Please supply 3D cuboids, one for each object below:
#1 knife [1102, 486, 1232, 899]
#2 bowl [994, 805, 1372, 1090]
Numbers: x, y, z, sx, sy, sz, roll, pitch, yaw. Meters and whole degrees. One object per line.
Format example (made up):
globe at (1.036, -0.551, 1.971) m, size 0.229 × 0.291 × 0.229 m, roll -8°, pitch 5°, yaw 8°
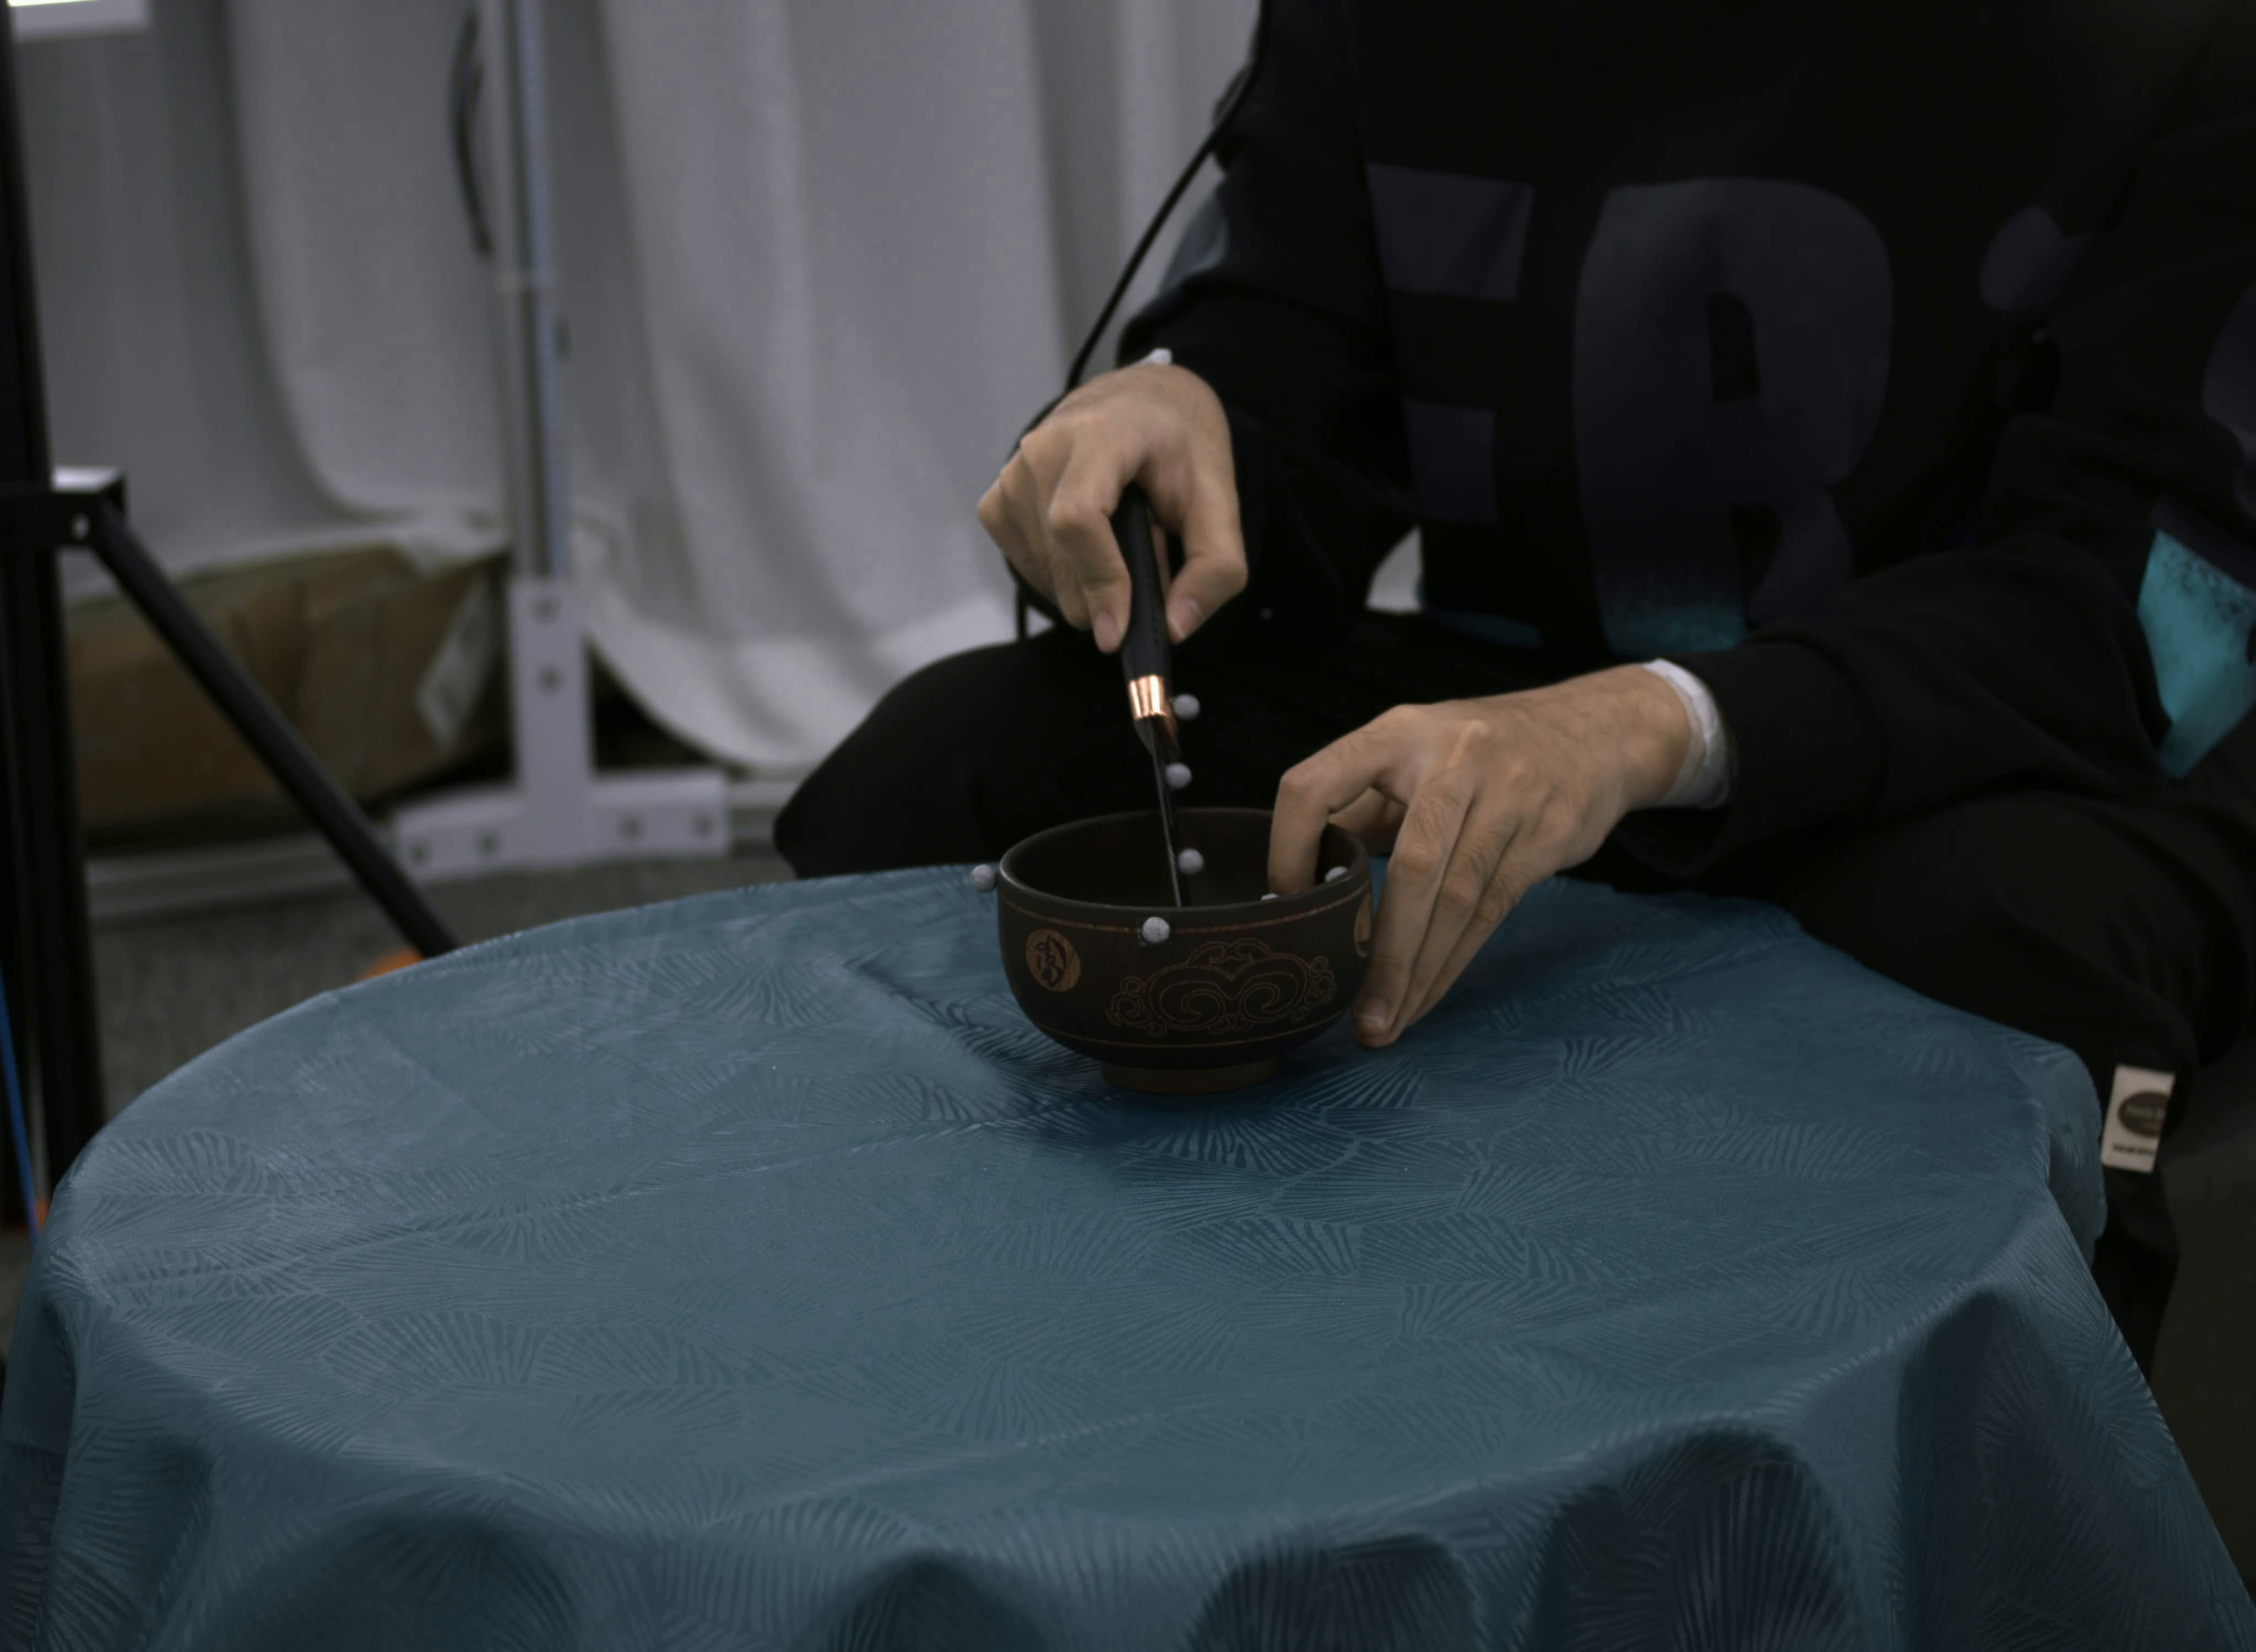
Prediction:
knife at (0.015, -0.026, 1.706) m, size 0.025 × 0.017 × 0.229 m, roll 12°, pitch 44°, yaw -23°
bowl at (0.017, 0.041, 1.655) m, size 0.117 × 0.070 × 0.118 m, roll -1°, pitch 14°, yaw -1°
